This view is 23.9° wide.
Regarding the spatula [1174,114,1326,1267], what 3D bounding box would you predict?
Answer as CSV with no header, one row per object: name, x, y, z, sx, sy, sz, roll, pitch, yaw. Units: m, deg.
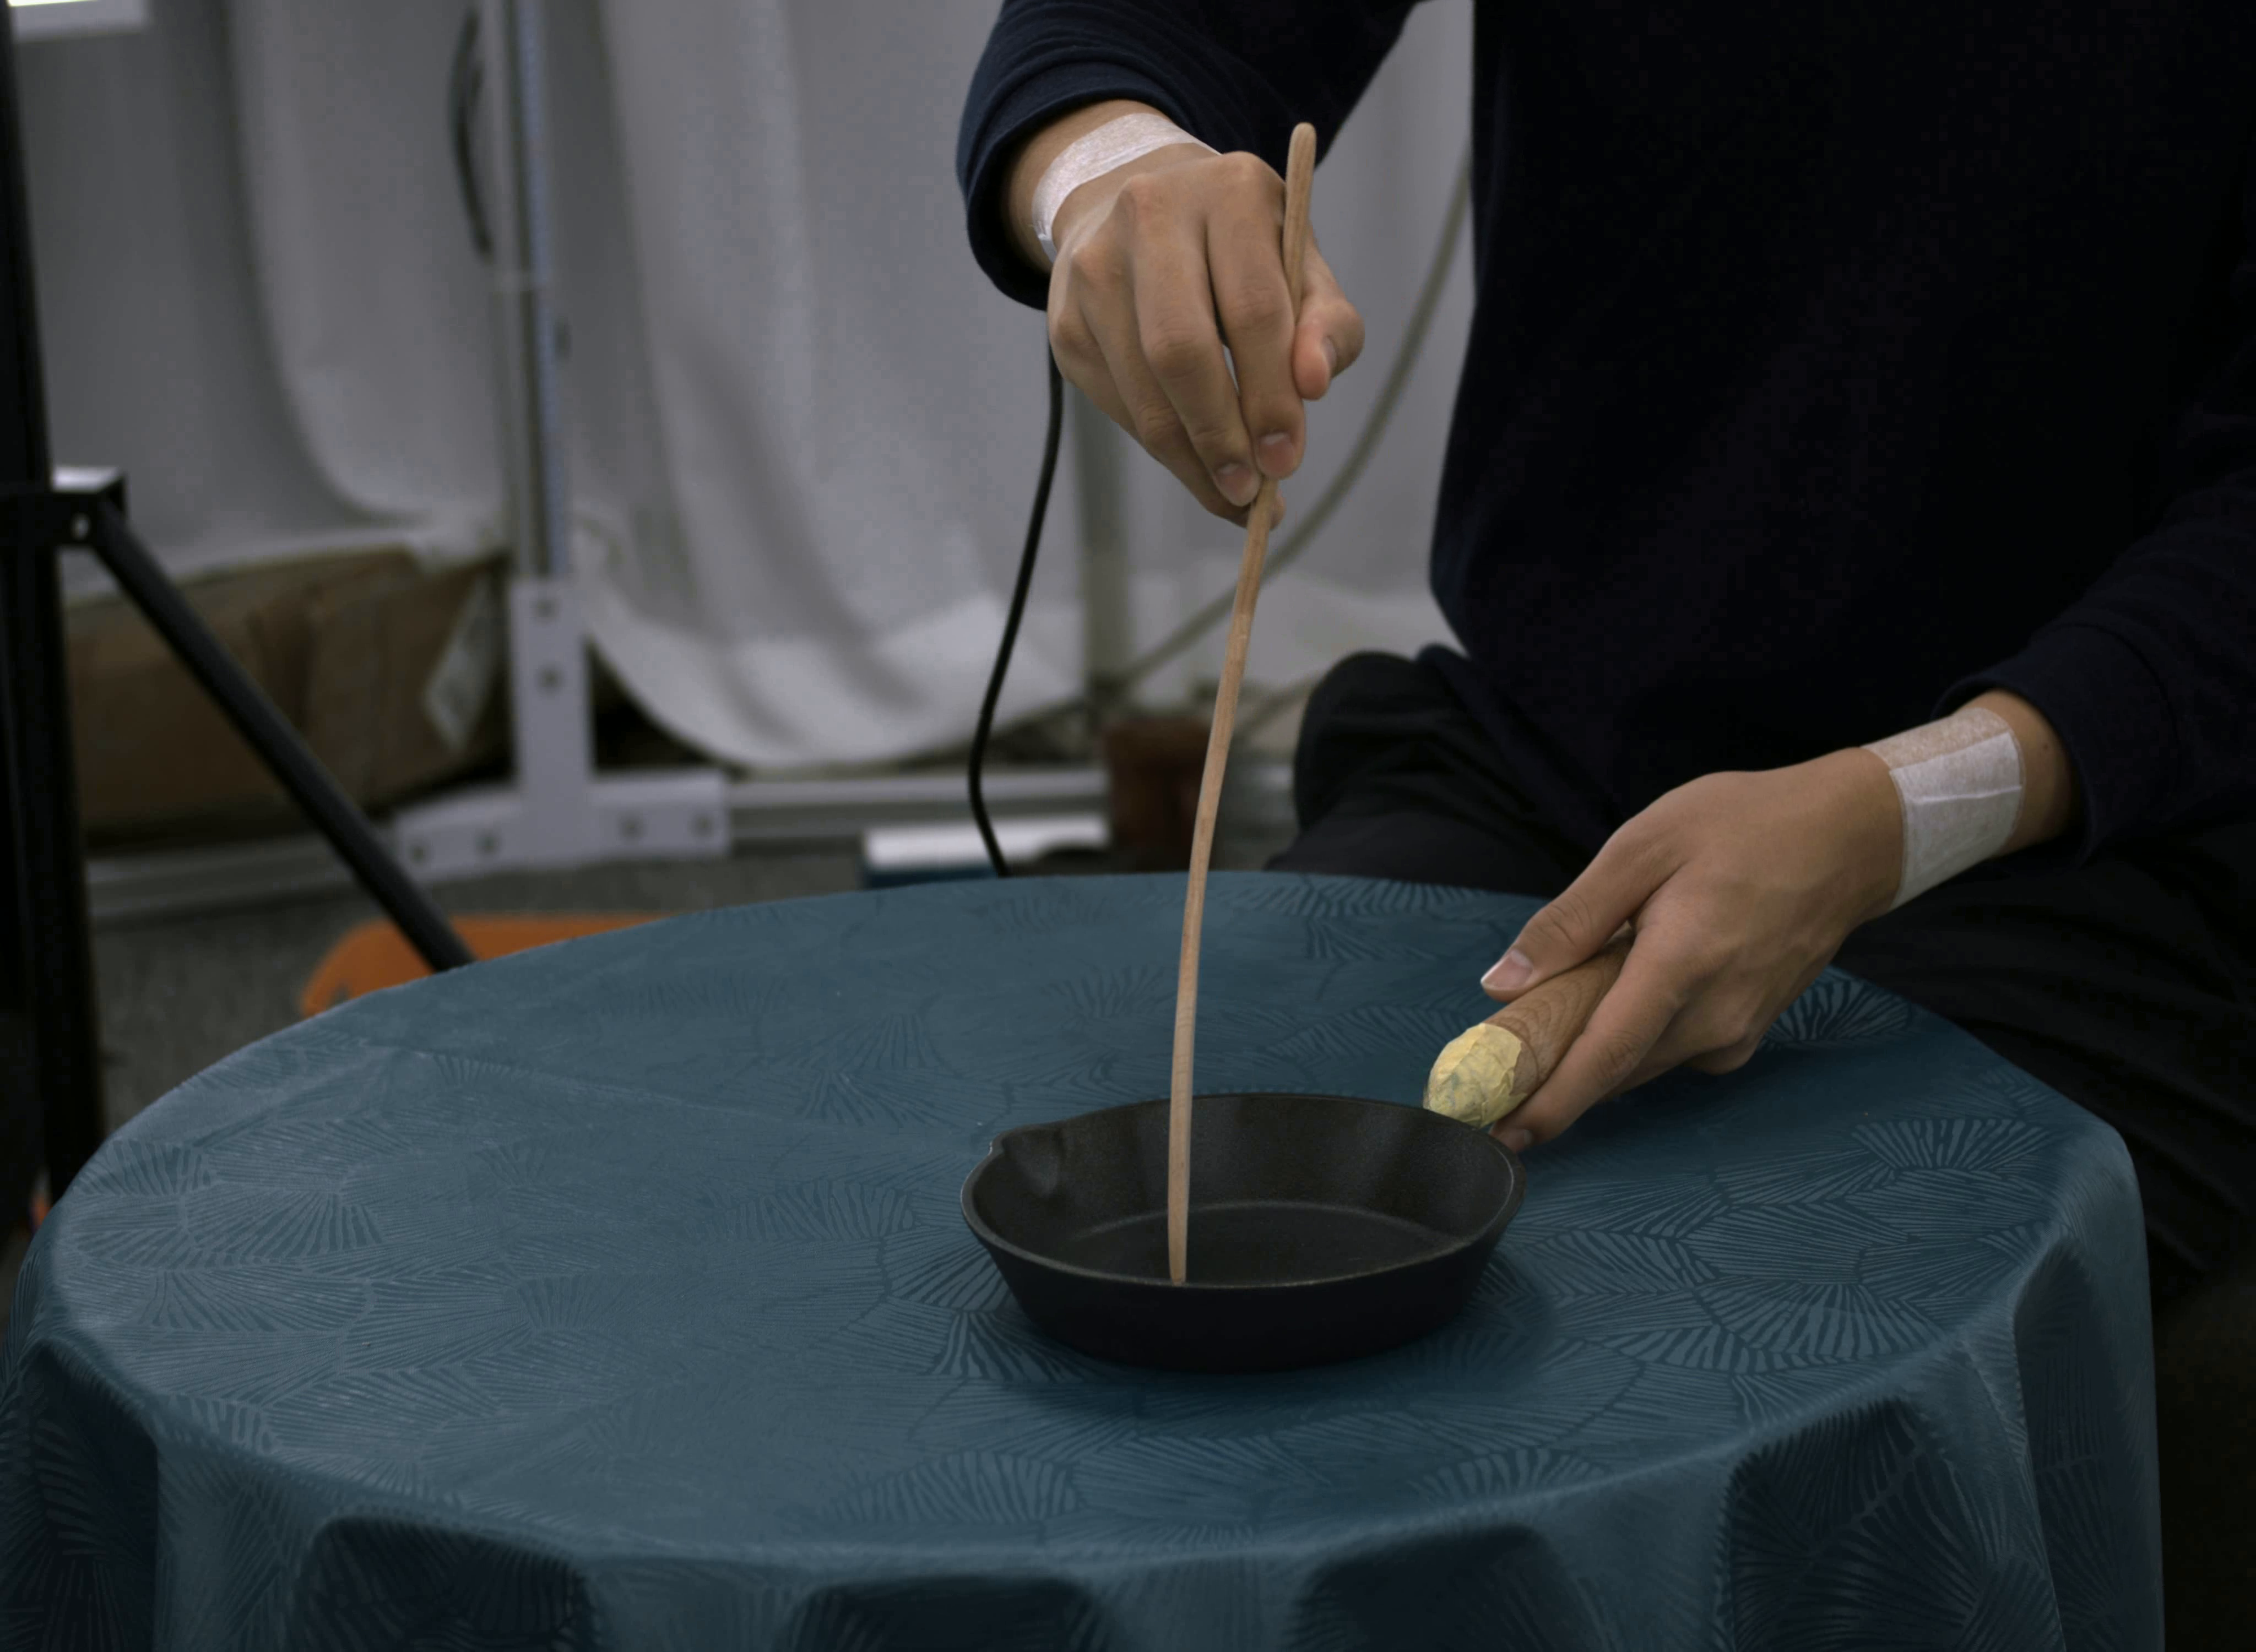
spatula,0.032,-0.027,1.441,0.016,0.328,0.080,8,10,-1

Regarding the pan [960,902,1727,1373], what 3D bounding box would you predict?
pan,0.084,0.086,1.528,0.172,0.049,0.317,11,22,38
